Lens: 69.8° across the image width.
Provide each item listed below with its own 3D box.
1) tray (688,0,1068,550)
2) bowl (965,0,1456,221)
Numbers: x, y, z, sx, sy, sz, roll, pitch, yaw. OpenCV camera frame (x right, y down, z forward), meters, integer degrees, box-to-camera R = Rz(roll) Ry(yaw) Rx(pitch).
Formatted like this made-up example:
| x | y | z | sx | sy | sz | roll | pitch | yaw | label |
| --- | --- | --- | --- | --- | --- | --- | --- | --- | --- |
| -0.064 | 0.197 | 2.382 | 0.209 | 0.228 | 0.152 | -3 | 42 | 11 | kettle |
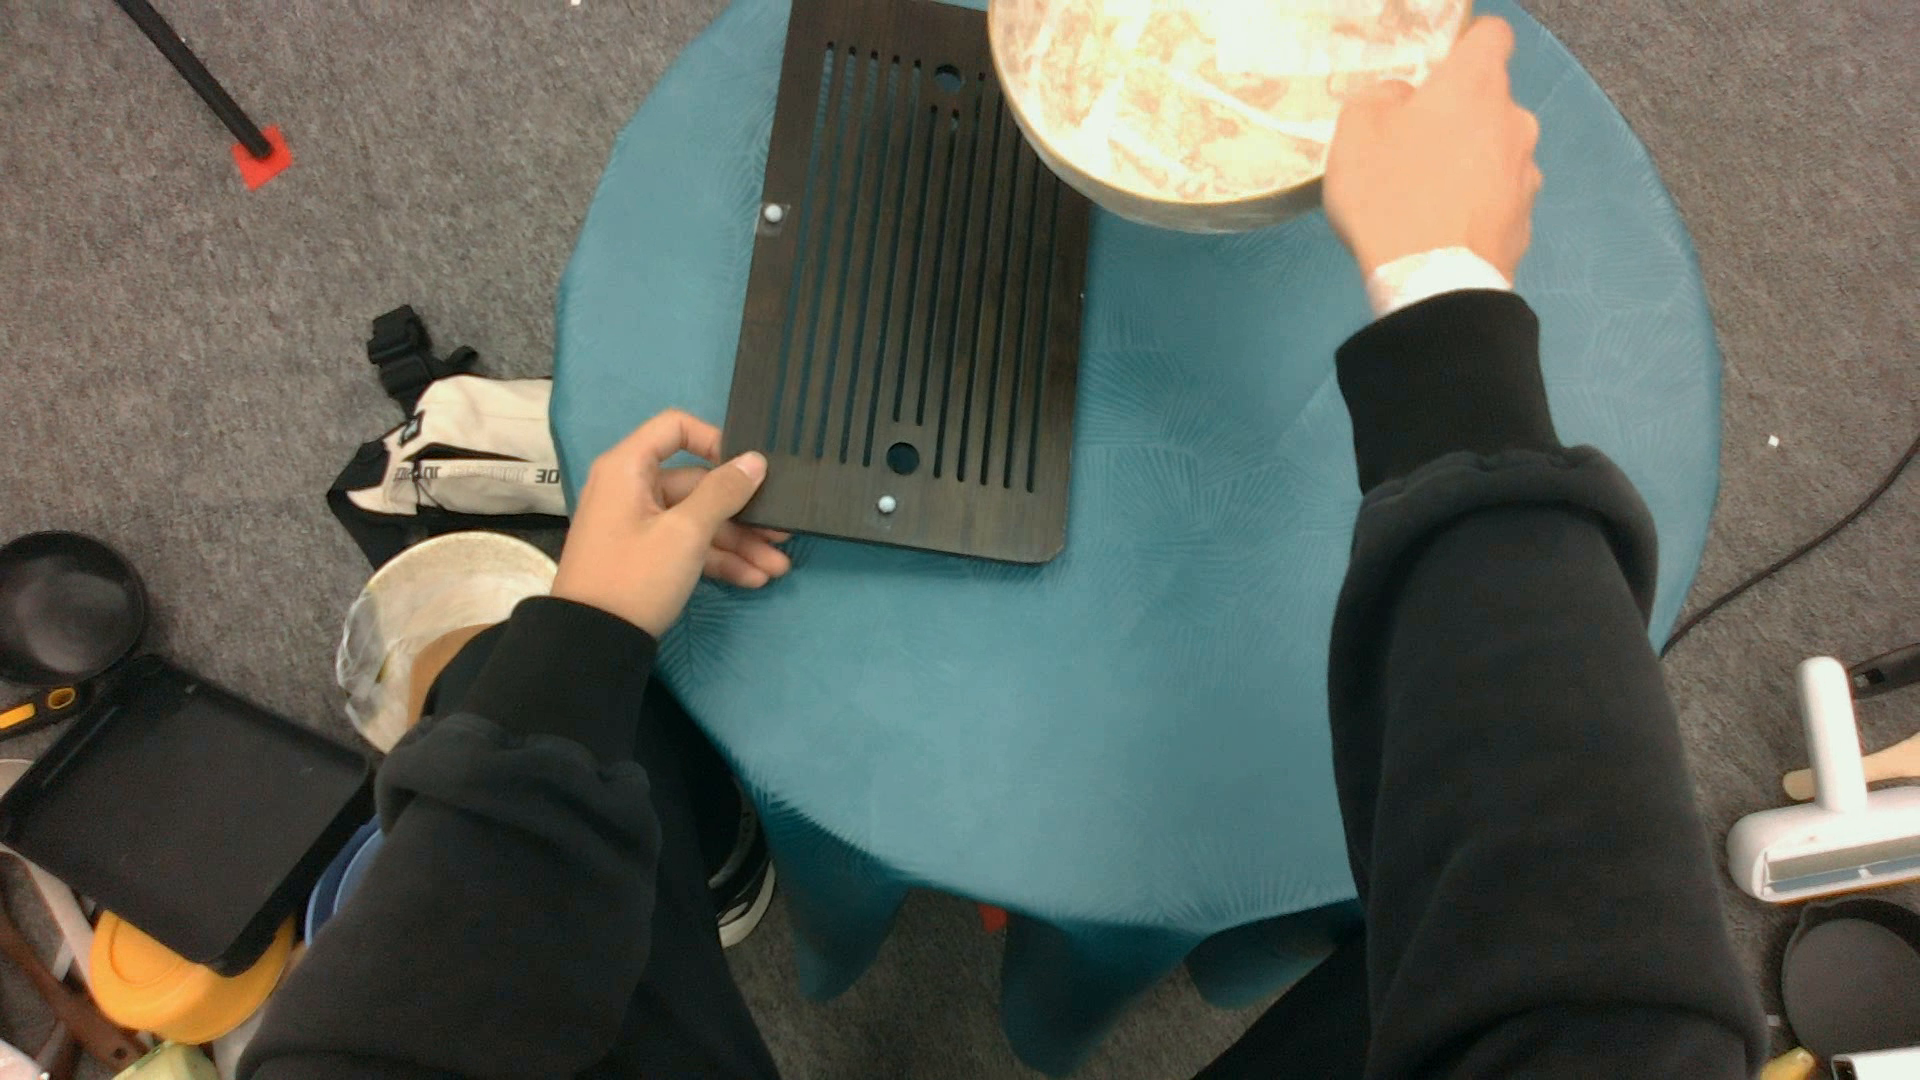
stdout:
| x | y | z | sx | sy | sz | roll | pitch | yaw | label |
| --- | --- | --- | --- | --- | --- | --- | --- | --- | --- |
| -0.033 | -0.149 | 0.701 | 0.170 | 0.018 | 0.307 | 8 | 71 | -8 | tray |
| 0.110 | -0.223 | 0.616 | 0.214 | 0.094 | 0.215 | -2 | 75 | 9 | bowl |
